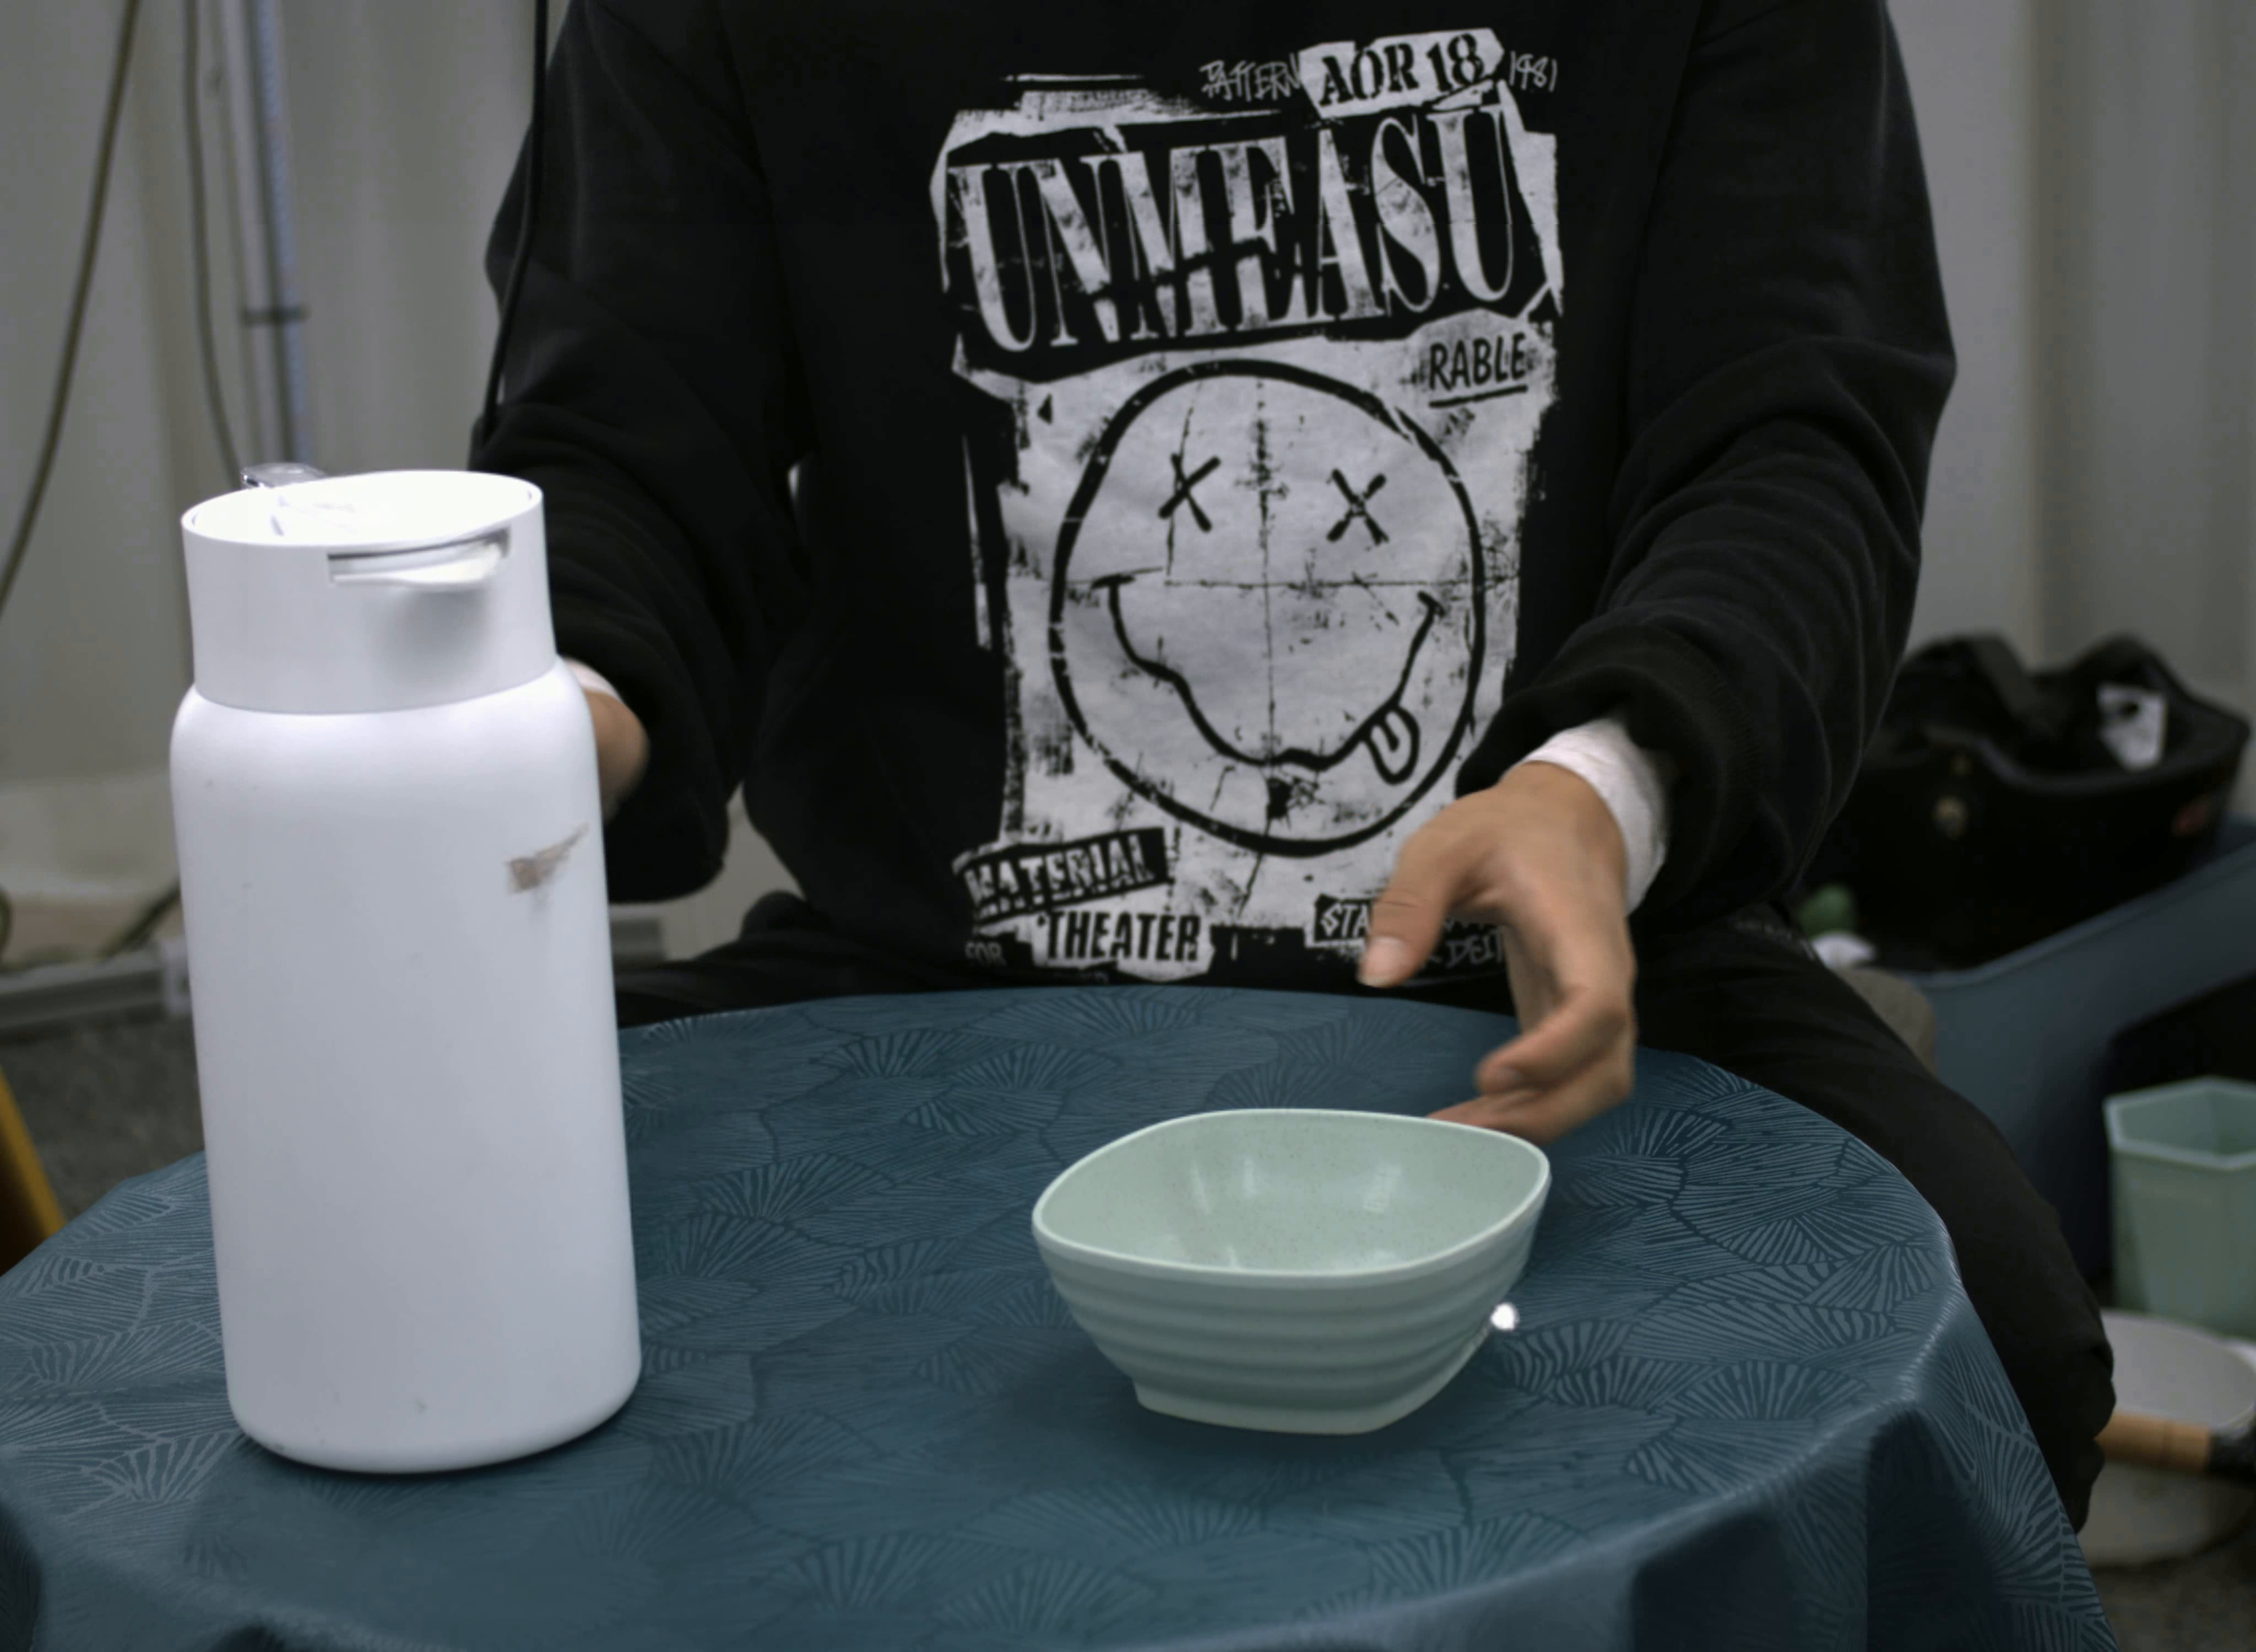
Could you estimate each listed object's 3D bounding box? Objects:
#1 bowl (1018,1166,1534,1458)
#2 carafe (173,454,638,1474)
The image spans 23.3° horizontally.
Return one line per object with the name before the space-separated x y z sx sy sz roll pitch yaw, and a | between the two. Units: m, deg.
bowl | 0.043 0.139 1.539 0.151 0.058 0.152 -2 8 0
carafe | -0.212 0.035 1.540 0.123 0.268 0.174 -13 17 -28
